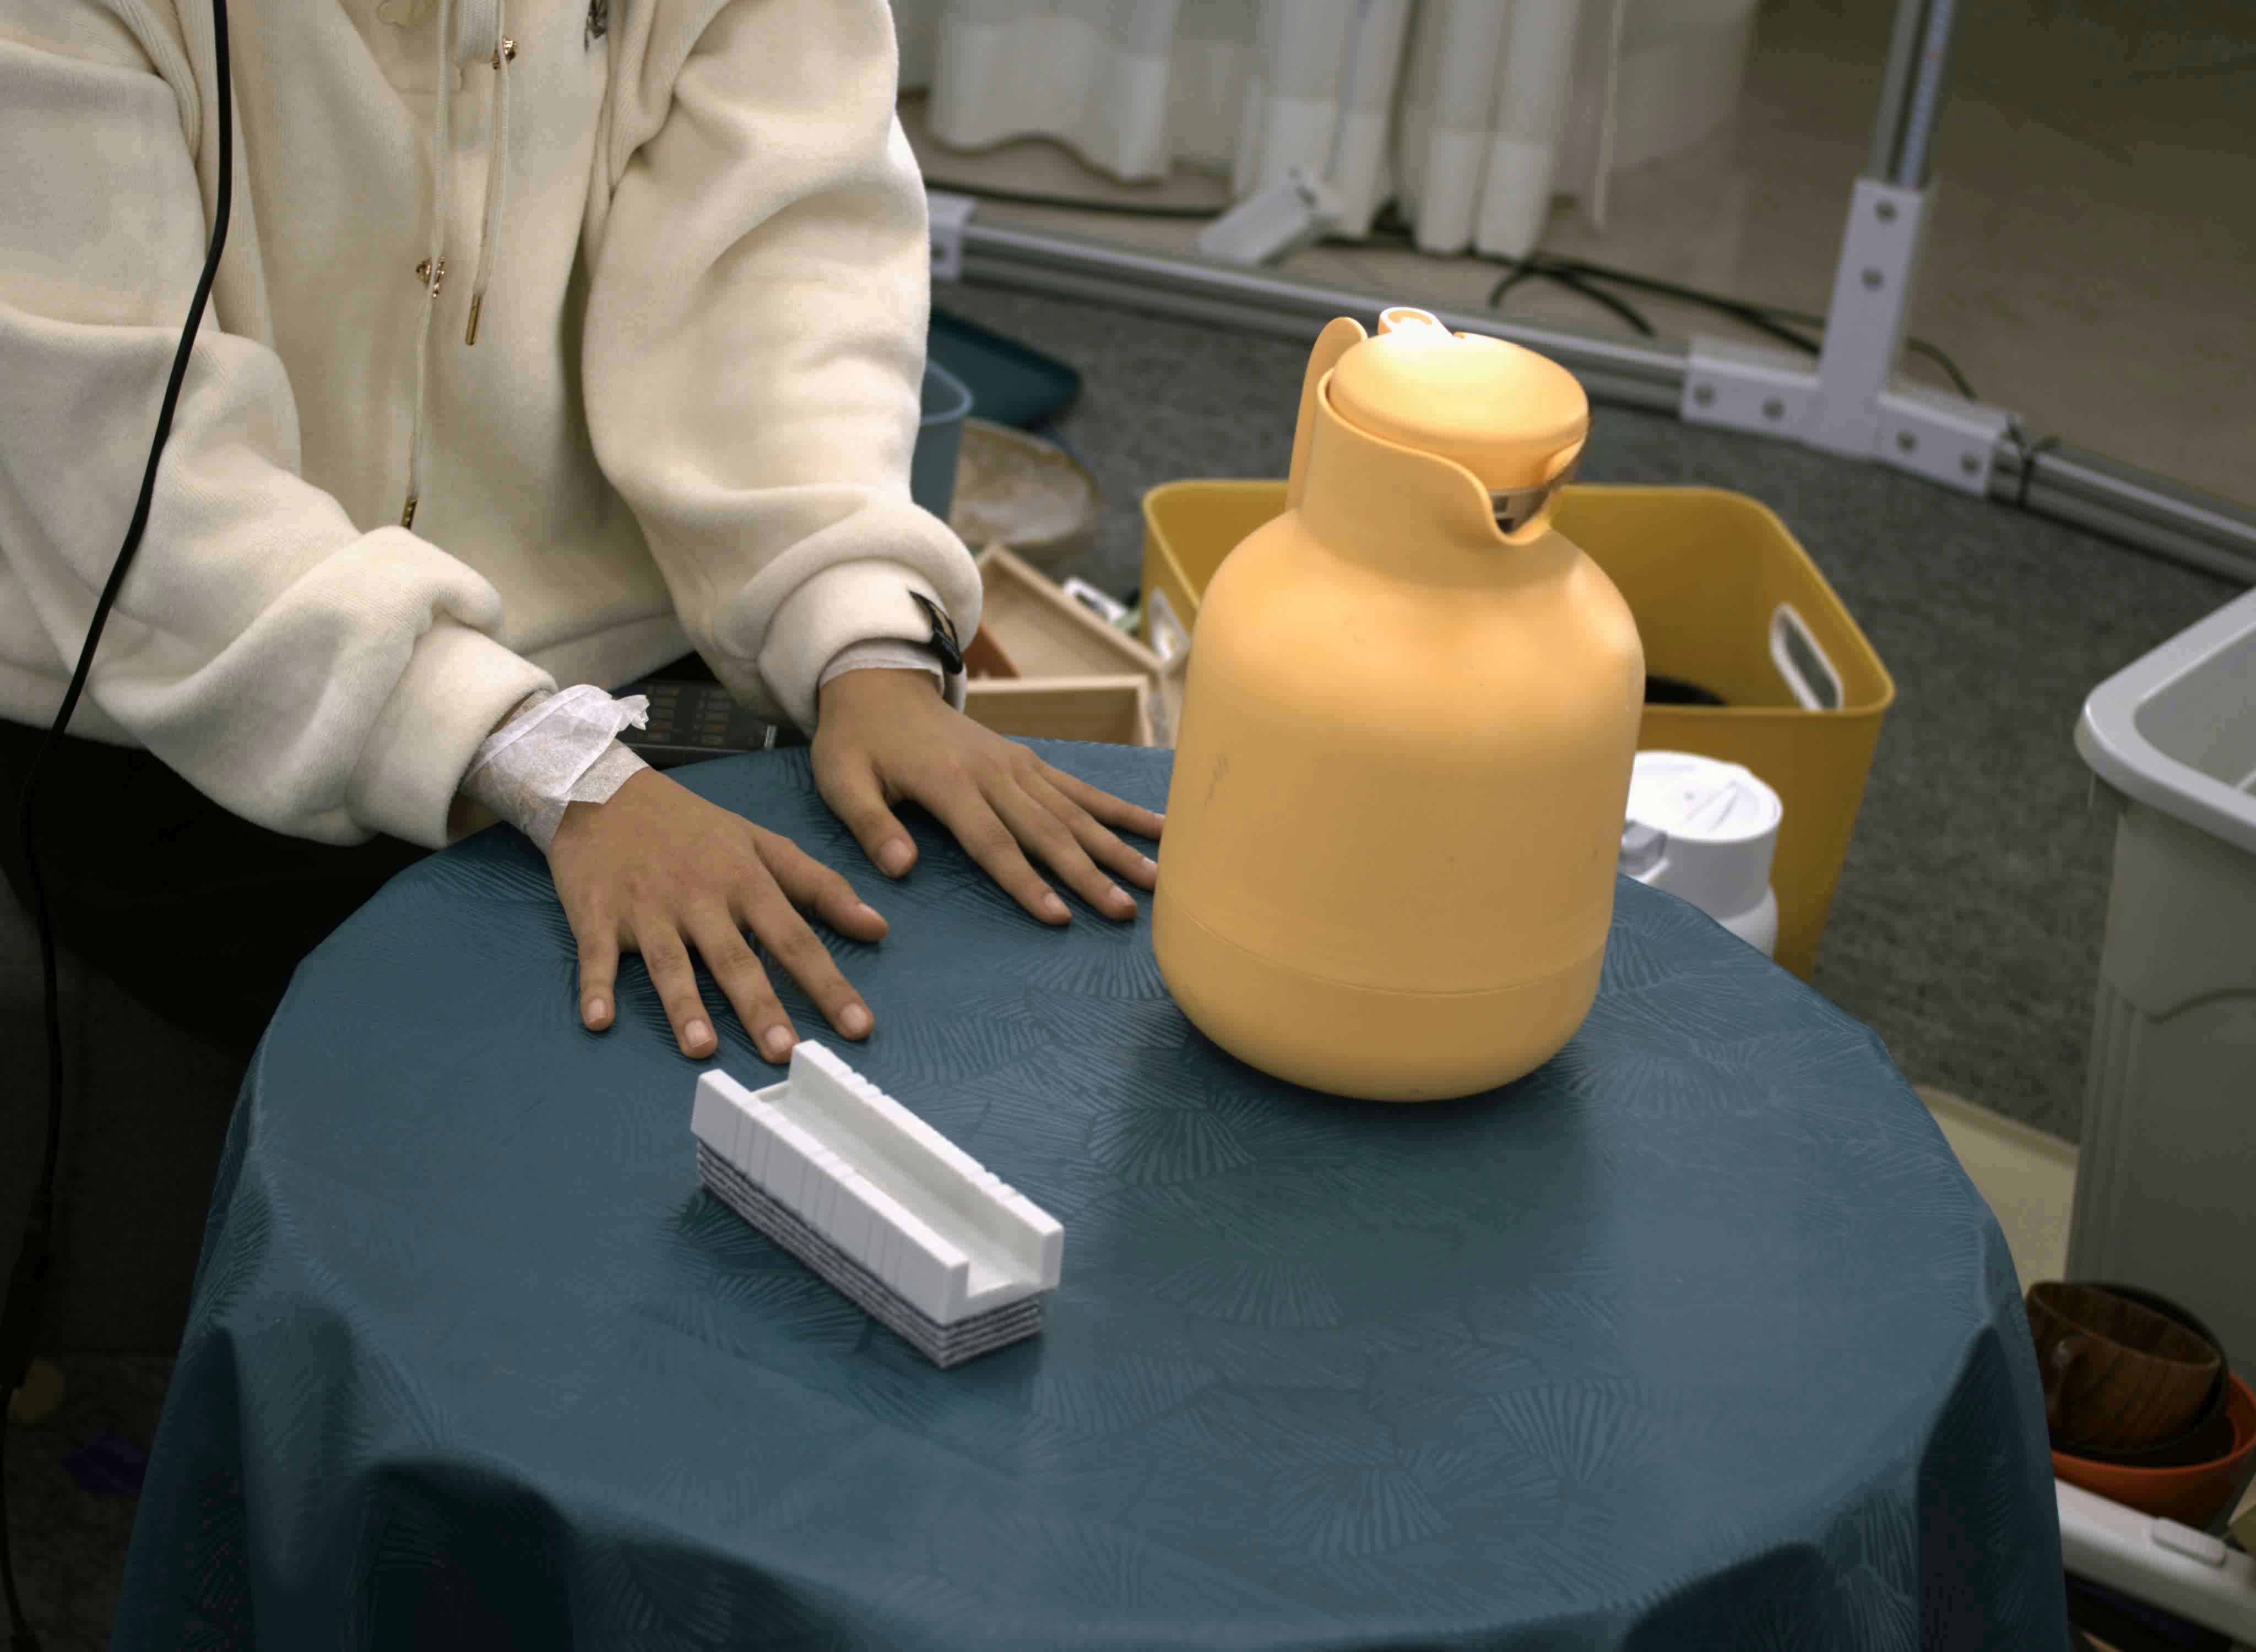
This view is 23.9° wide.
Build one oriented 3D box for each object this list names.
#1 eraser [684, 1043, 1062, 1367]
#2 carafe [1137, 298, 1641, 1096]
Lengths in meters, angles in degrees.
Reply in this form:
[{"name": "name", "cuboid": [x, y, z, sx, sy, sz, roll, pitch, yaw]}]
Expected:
[{"name": "eraser", "cuboid": [-0.085, 0.123, 1.734, 0.049, 0.046, 0.135, -21, 39, -37]}, {"name": "carafe", "cuboid": [0.094, -0.055, 1.881, 0.162, 0.259, 0.204, 2, 28, -16]}]
